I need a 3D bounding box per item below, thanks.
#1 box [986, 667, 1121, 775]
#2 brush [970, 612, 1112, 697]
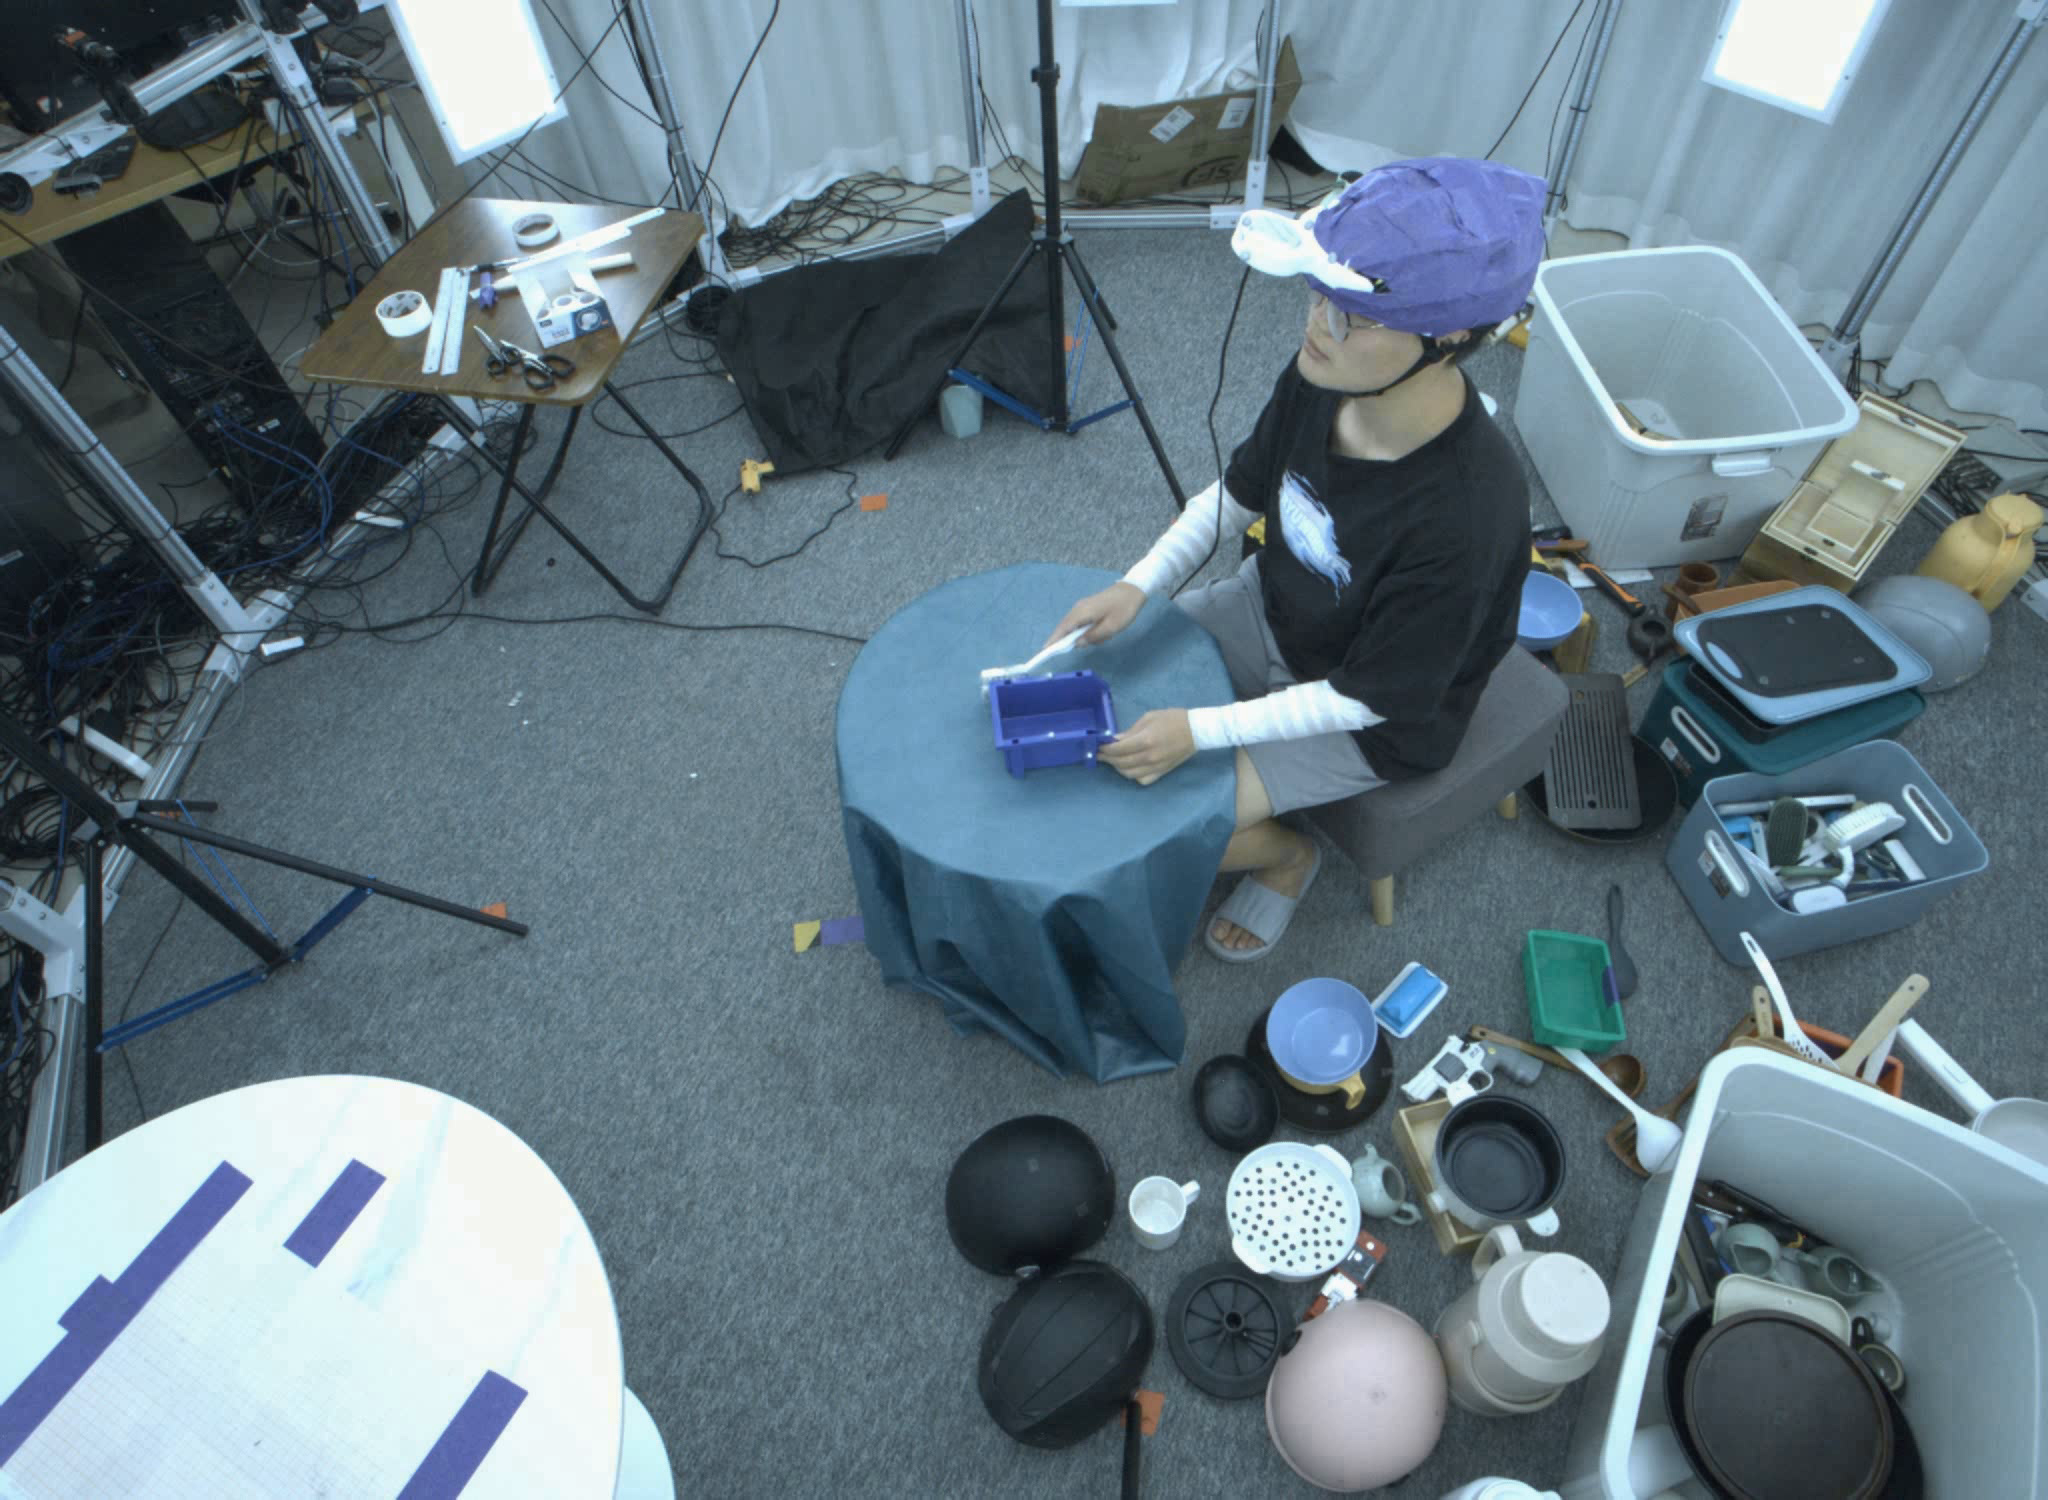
[{"bbox_3d":[0.042,-0.044,1.759,0.179,0.083,0.123,-7,54,-1],"label":"box"},{"bbox_3d":[0.030,-0.139,1.817,0.245,0.034,0.049,-24,71,-11],"label":"brush"}]
